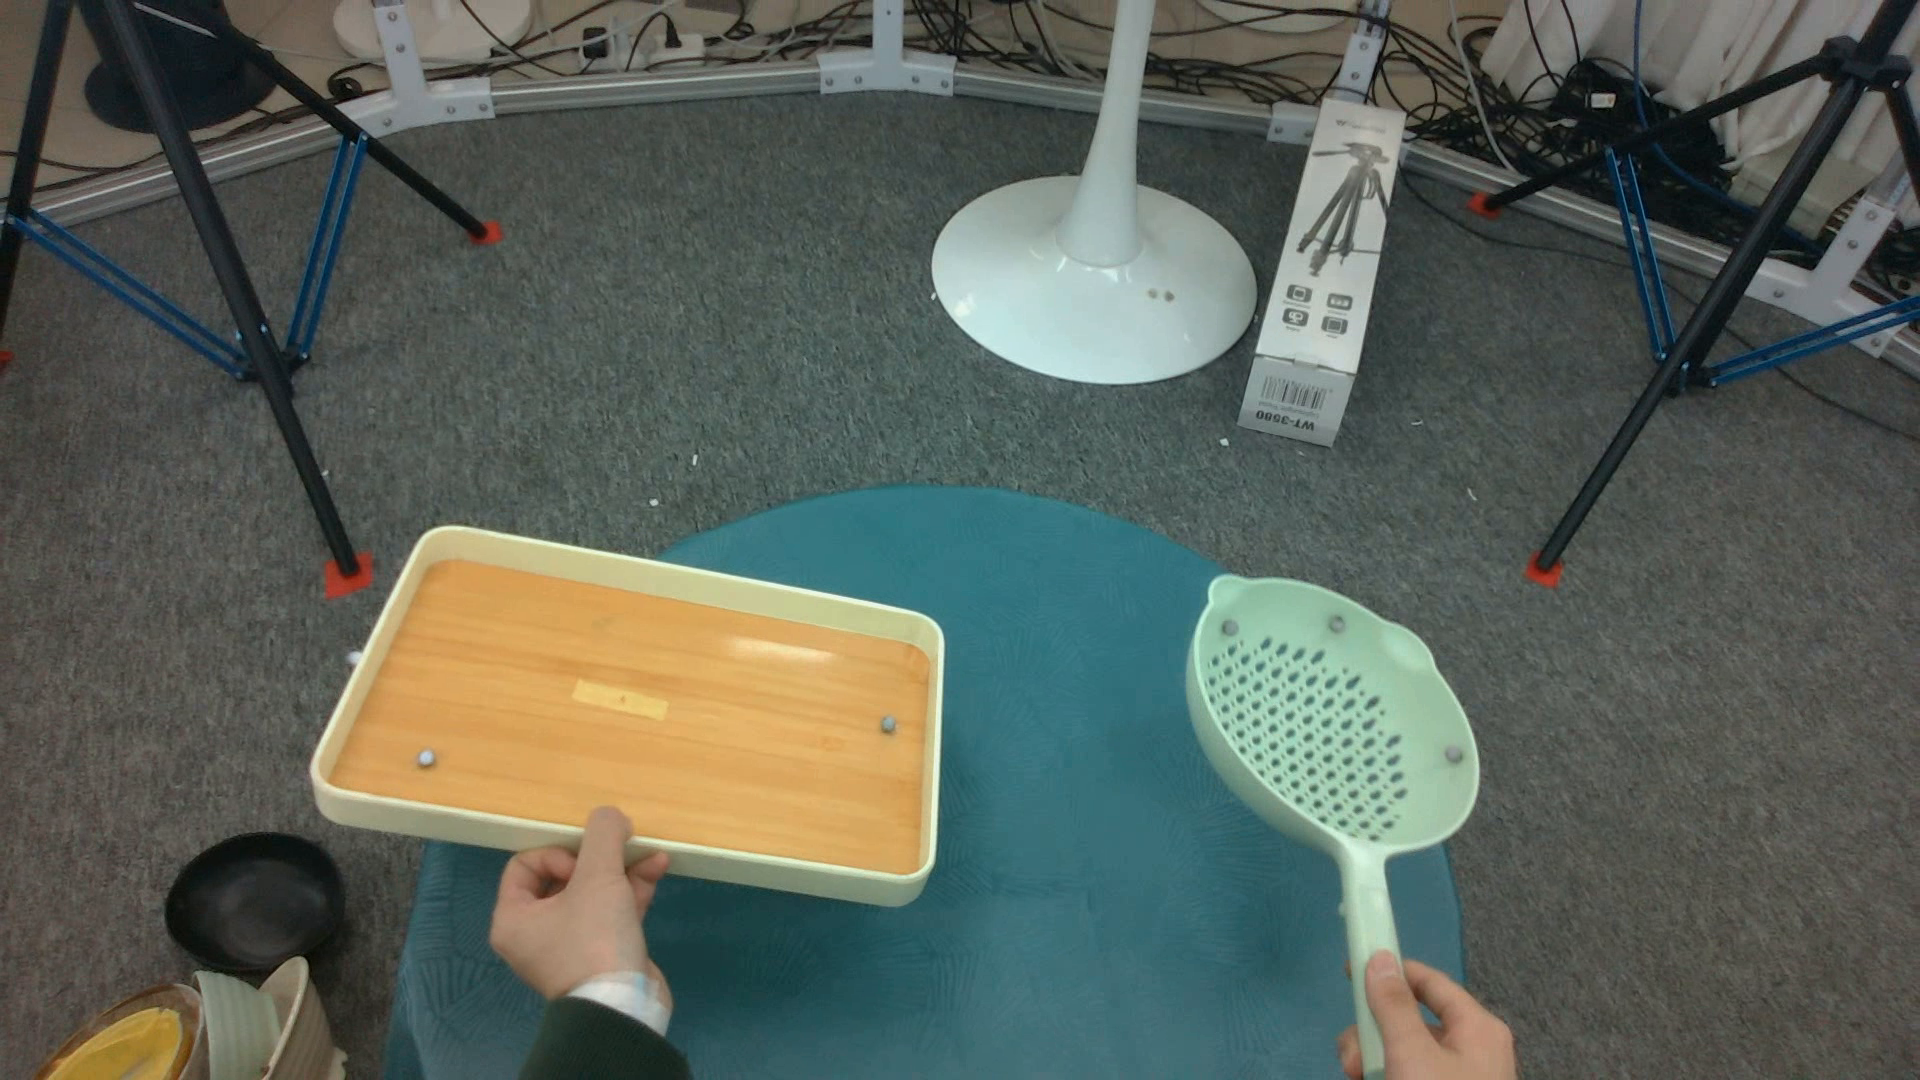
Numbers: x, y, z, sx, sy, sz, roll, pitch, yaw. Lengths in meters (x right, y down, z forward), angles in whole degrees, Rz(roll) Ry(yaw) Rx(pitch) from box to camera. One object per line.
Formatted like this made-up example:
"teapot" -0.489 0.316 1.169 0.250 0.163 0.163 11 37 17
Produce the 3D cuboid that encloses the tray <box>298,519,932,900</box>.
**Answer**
"tray" -0.165 0.085 0.732 0.300 0.027 0.192 12 40 -9

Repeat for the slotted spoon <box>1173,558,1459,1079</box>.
"slotted spoon" 0.182 0.158 0.666 0.169 0.075 0.360 17 37 -14
